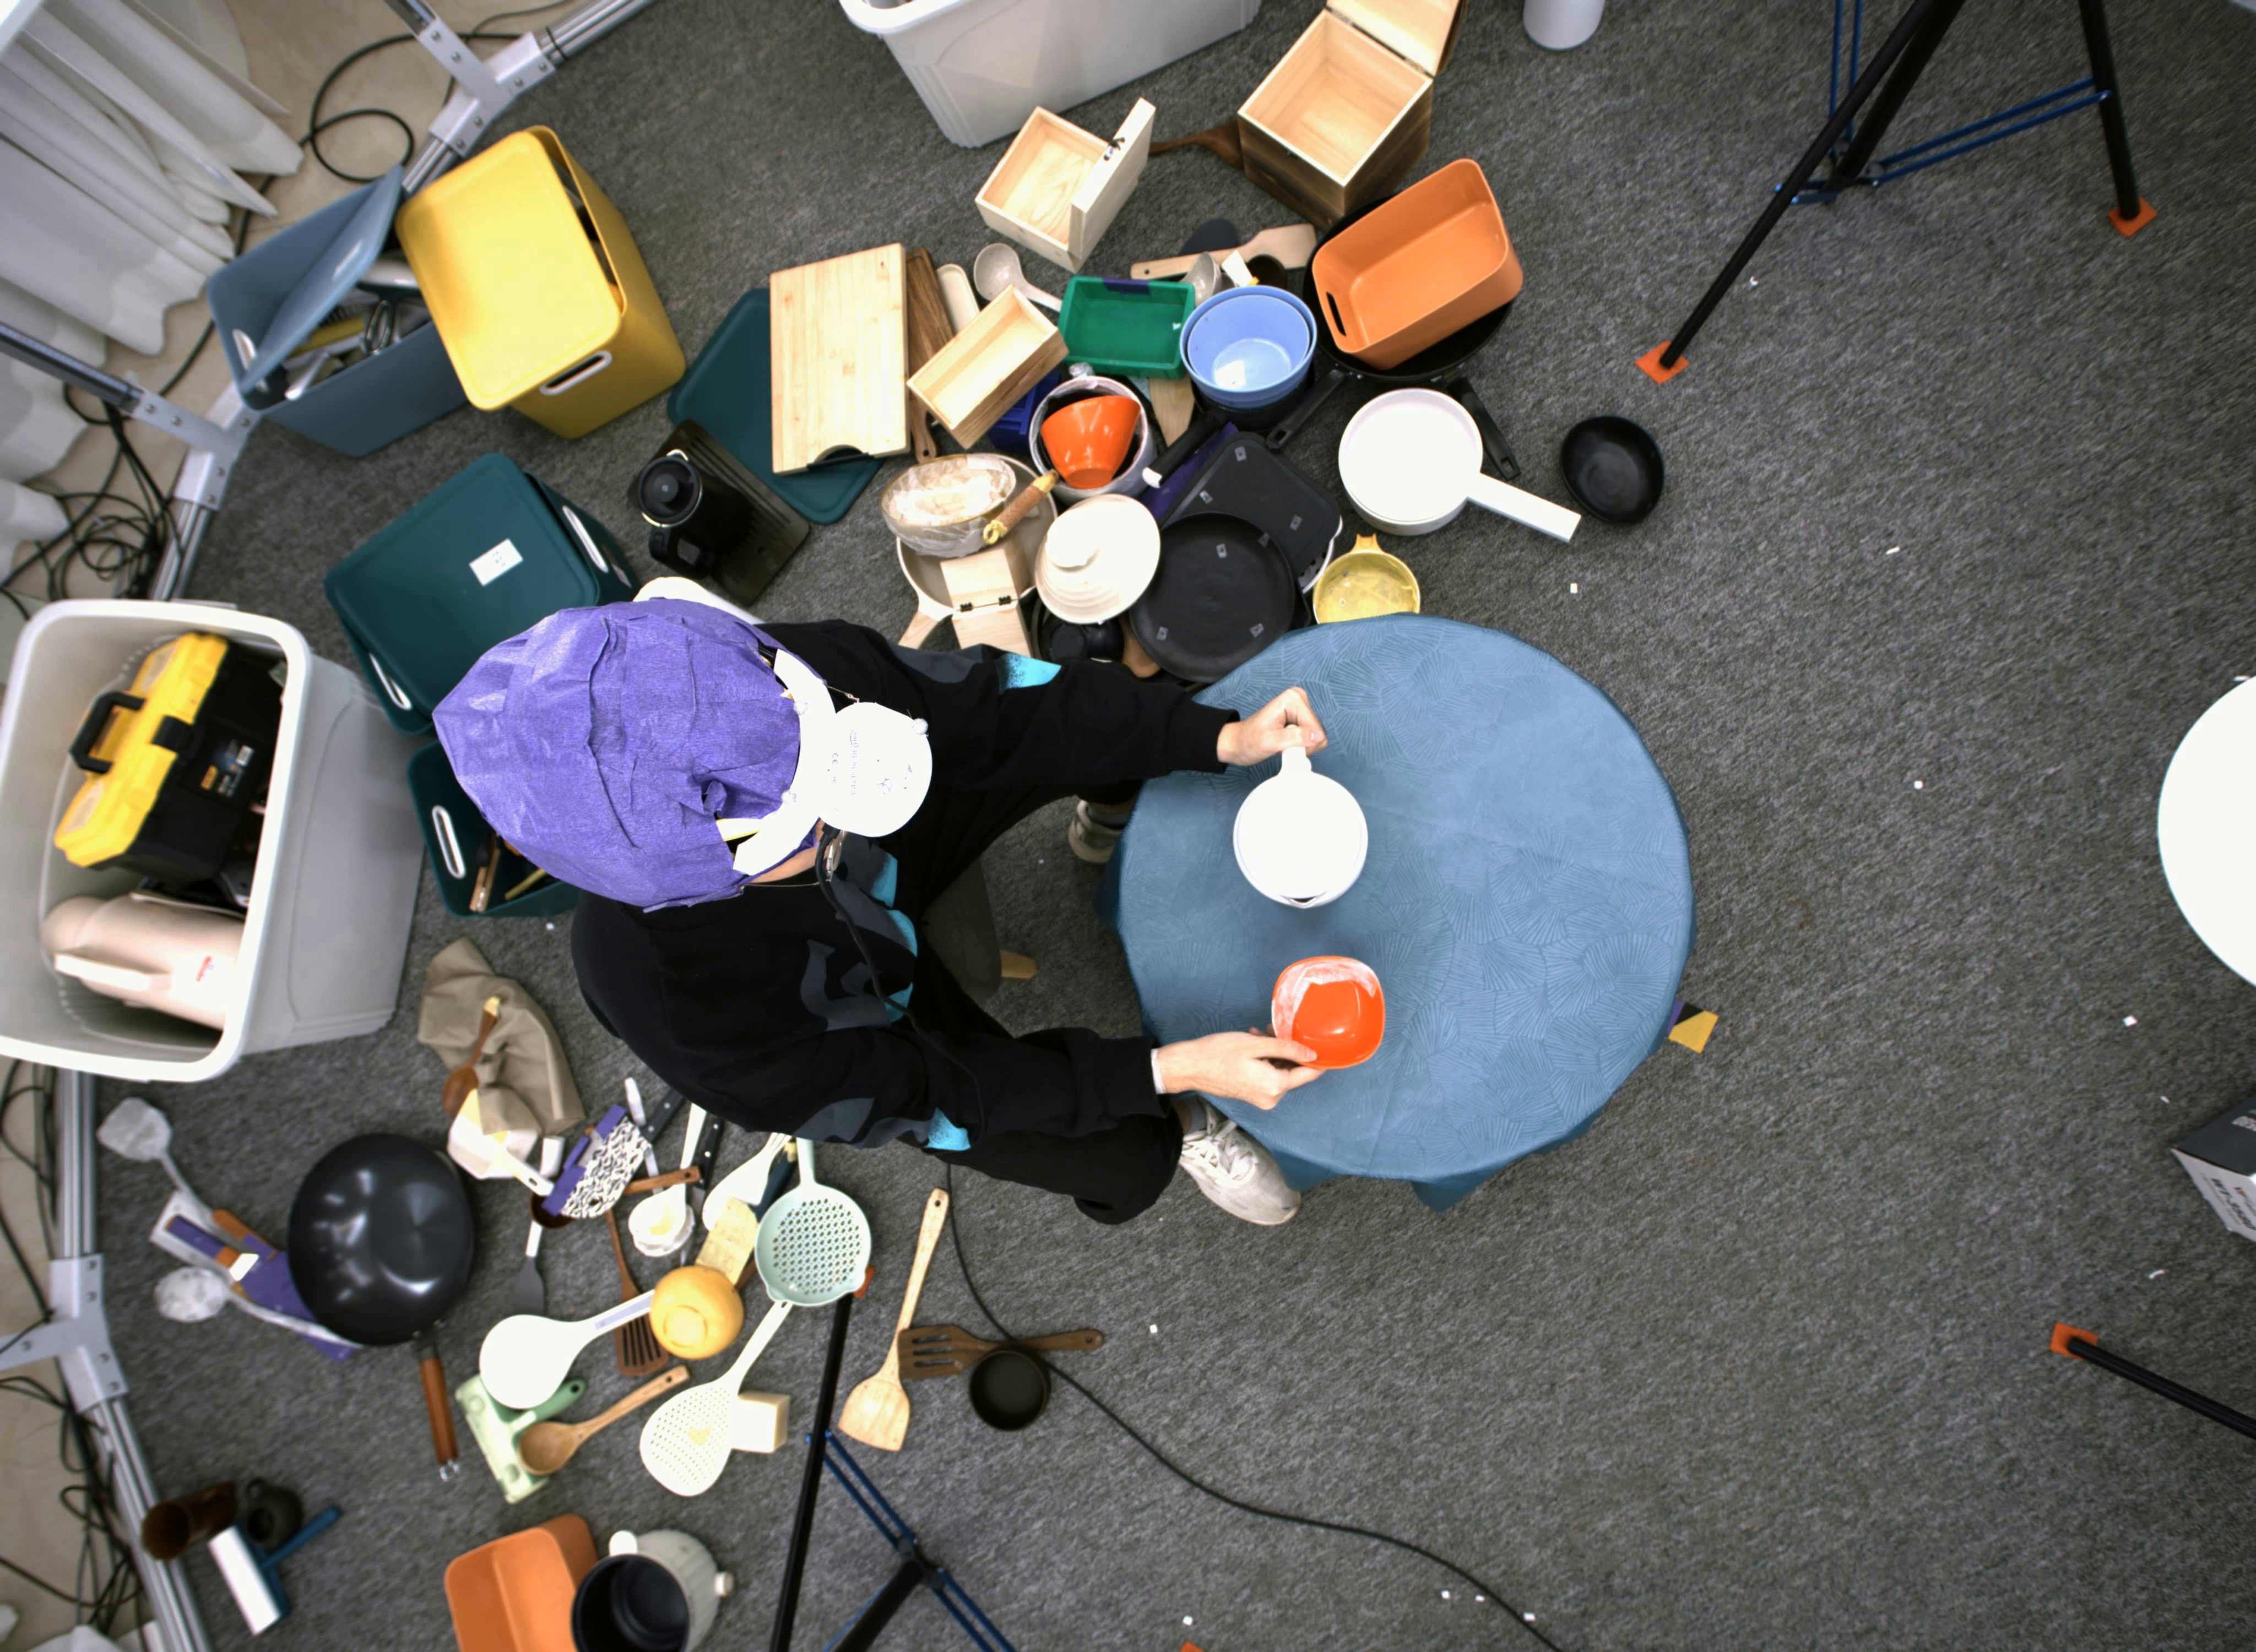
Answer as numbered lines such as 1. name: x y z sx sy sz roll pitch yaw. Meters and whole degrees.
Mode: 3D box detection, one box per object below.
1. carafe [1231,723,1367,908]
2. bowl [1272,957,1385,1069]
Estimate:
1. carafe: 0.170 -0.010 1.389 0.133 0.183 0.190 -6 84 8
2. bowl: 0.197 0.182 1.374 0.119 0.051 0.119 0 91 6
